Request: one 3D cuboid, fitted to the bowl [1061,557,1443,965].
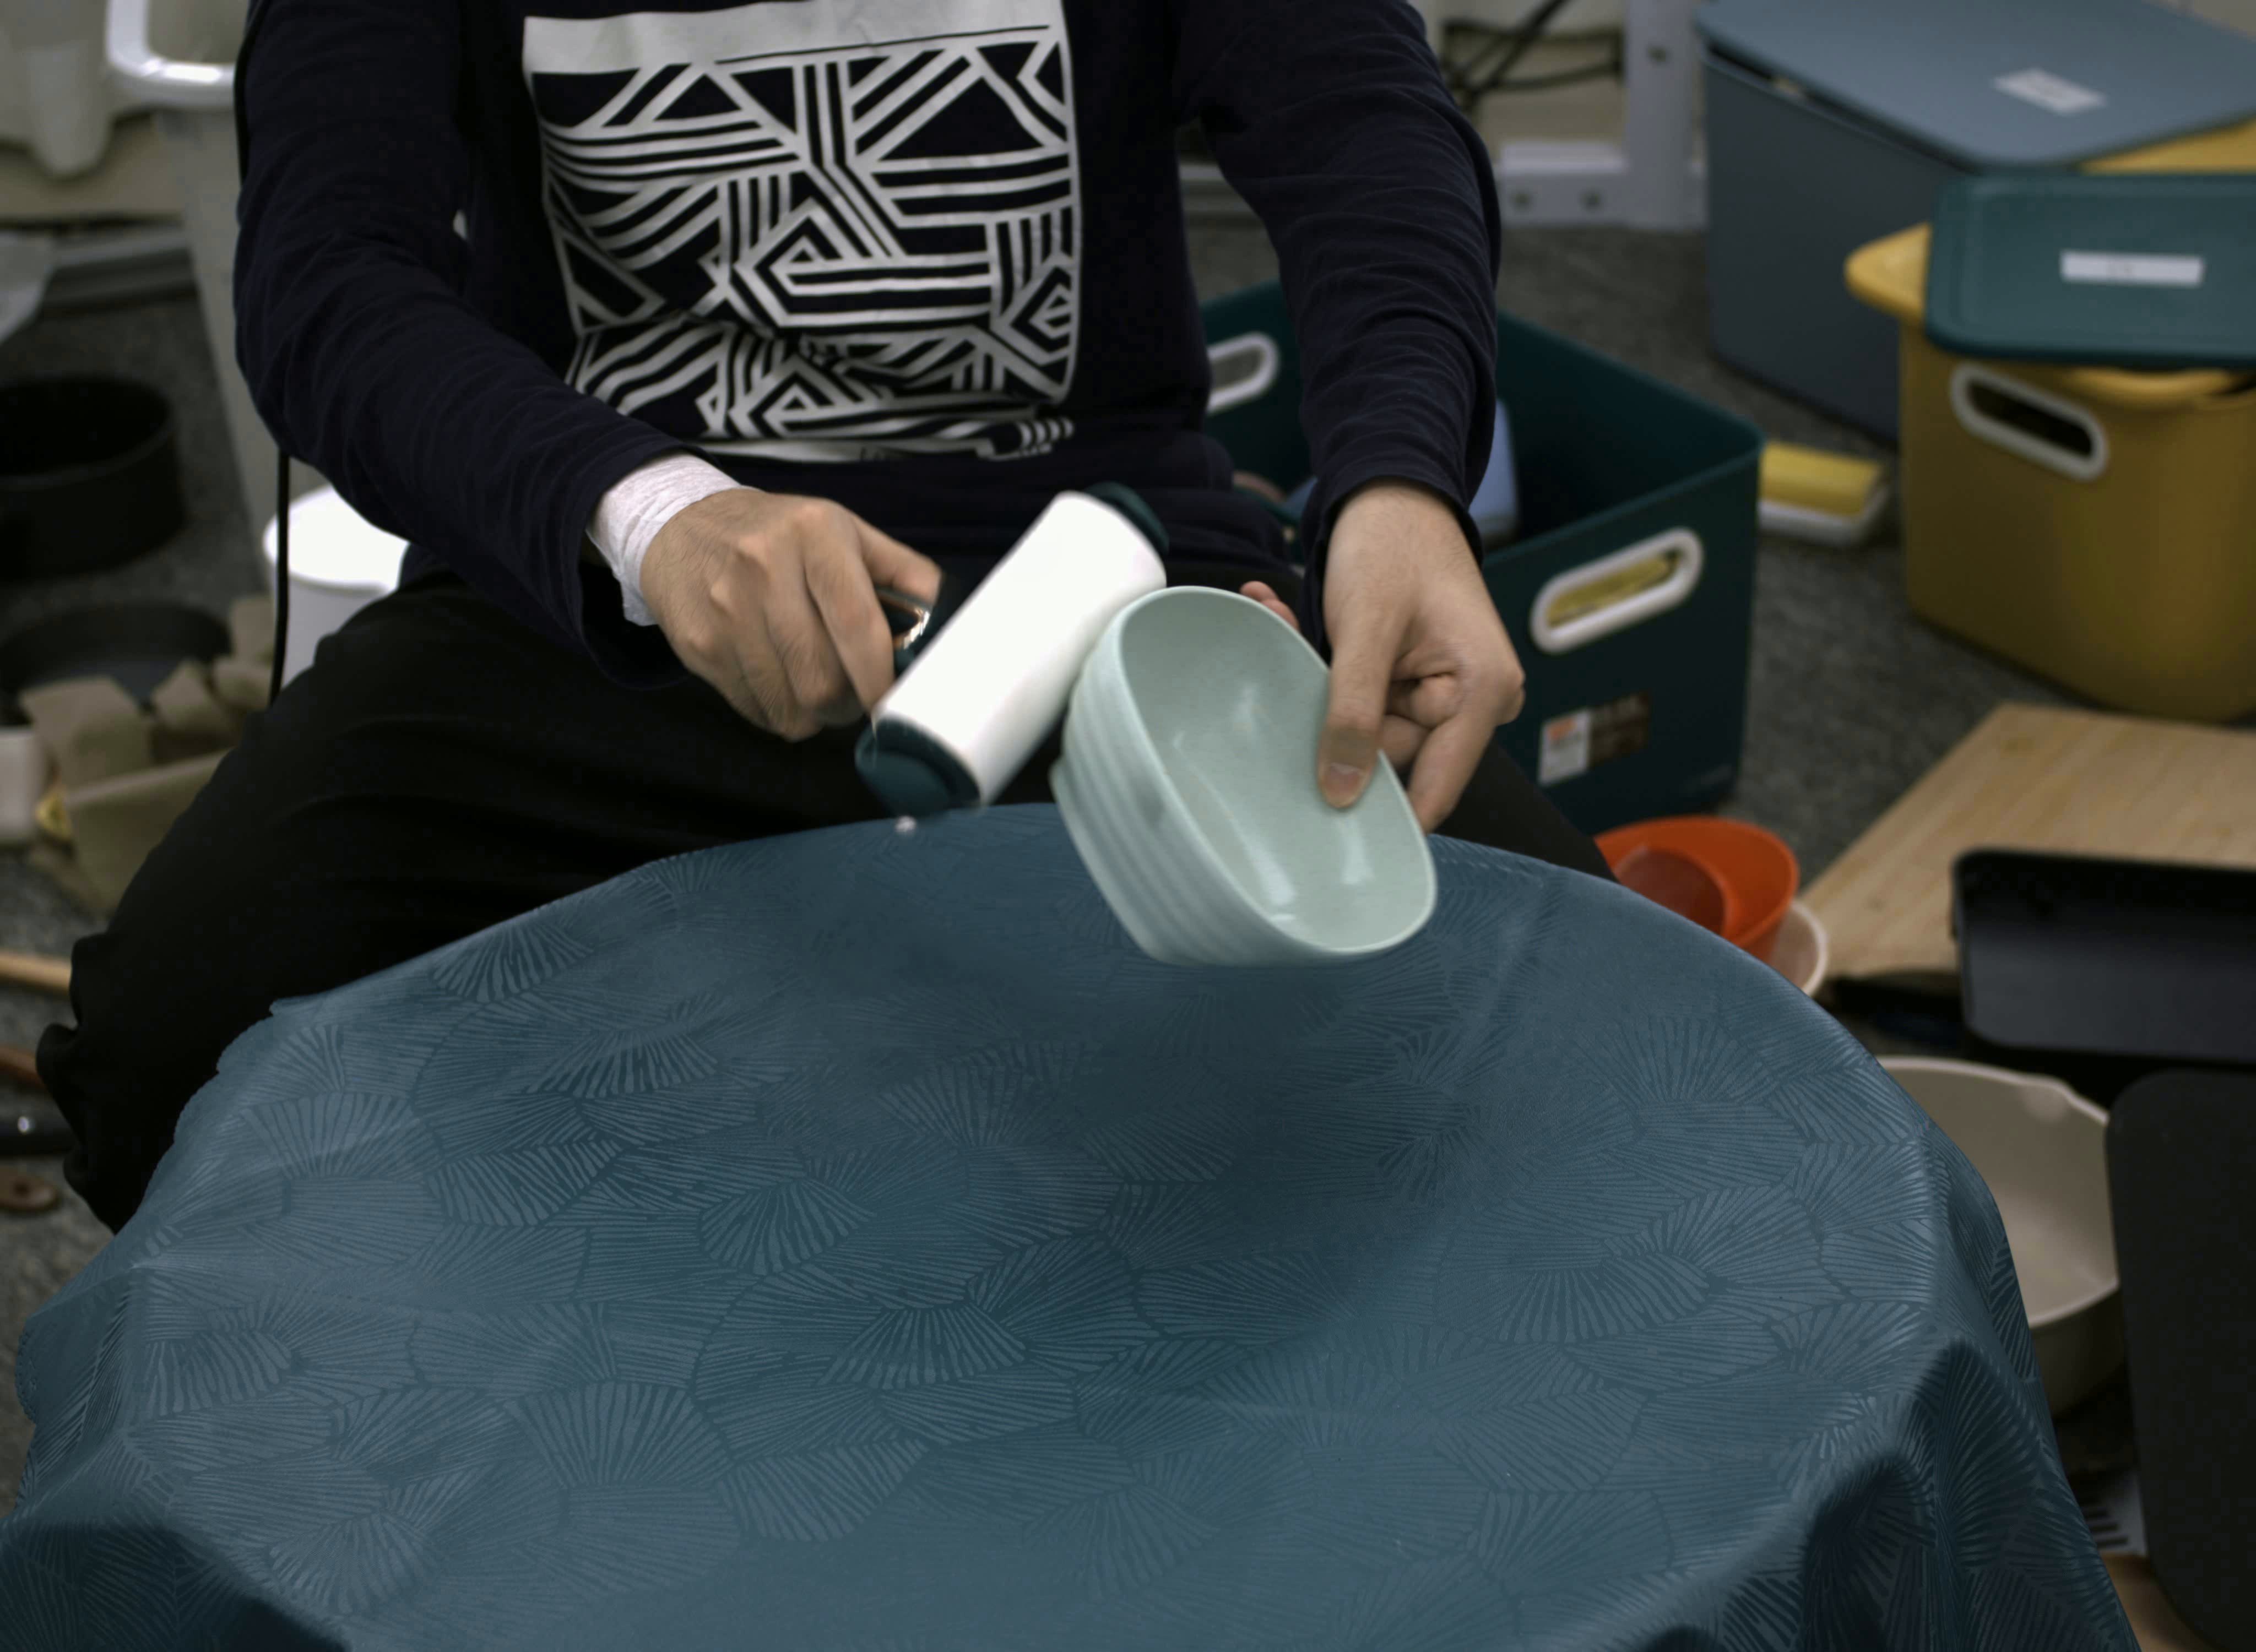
[{"bbox_3d":[0.031,-0.012,1.832,0.058,0.151,0.154,-29,8,37],"label":"bowl"}]

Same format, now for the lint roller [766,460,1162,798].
[{"bbox_3d":[-0.077,-0.070,1.879,0.179,0.048,0.136,9,51,51],"label":"lint roller"}]
